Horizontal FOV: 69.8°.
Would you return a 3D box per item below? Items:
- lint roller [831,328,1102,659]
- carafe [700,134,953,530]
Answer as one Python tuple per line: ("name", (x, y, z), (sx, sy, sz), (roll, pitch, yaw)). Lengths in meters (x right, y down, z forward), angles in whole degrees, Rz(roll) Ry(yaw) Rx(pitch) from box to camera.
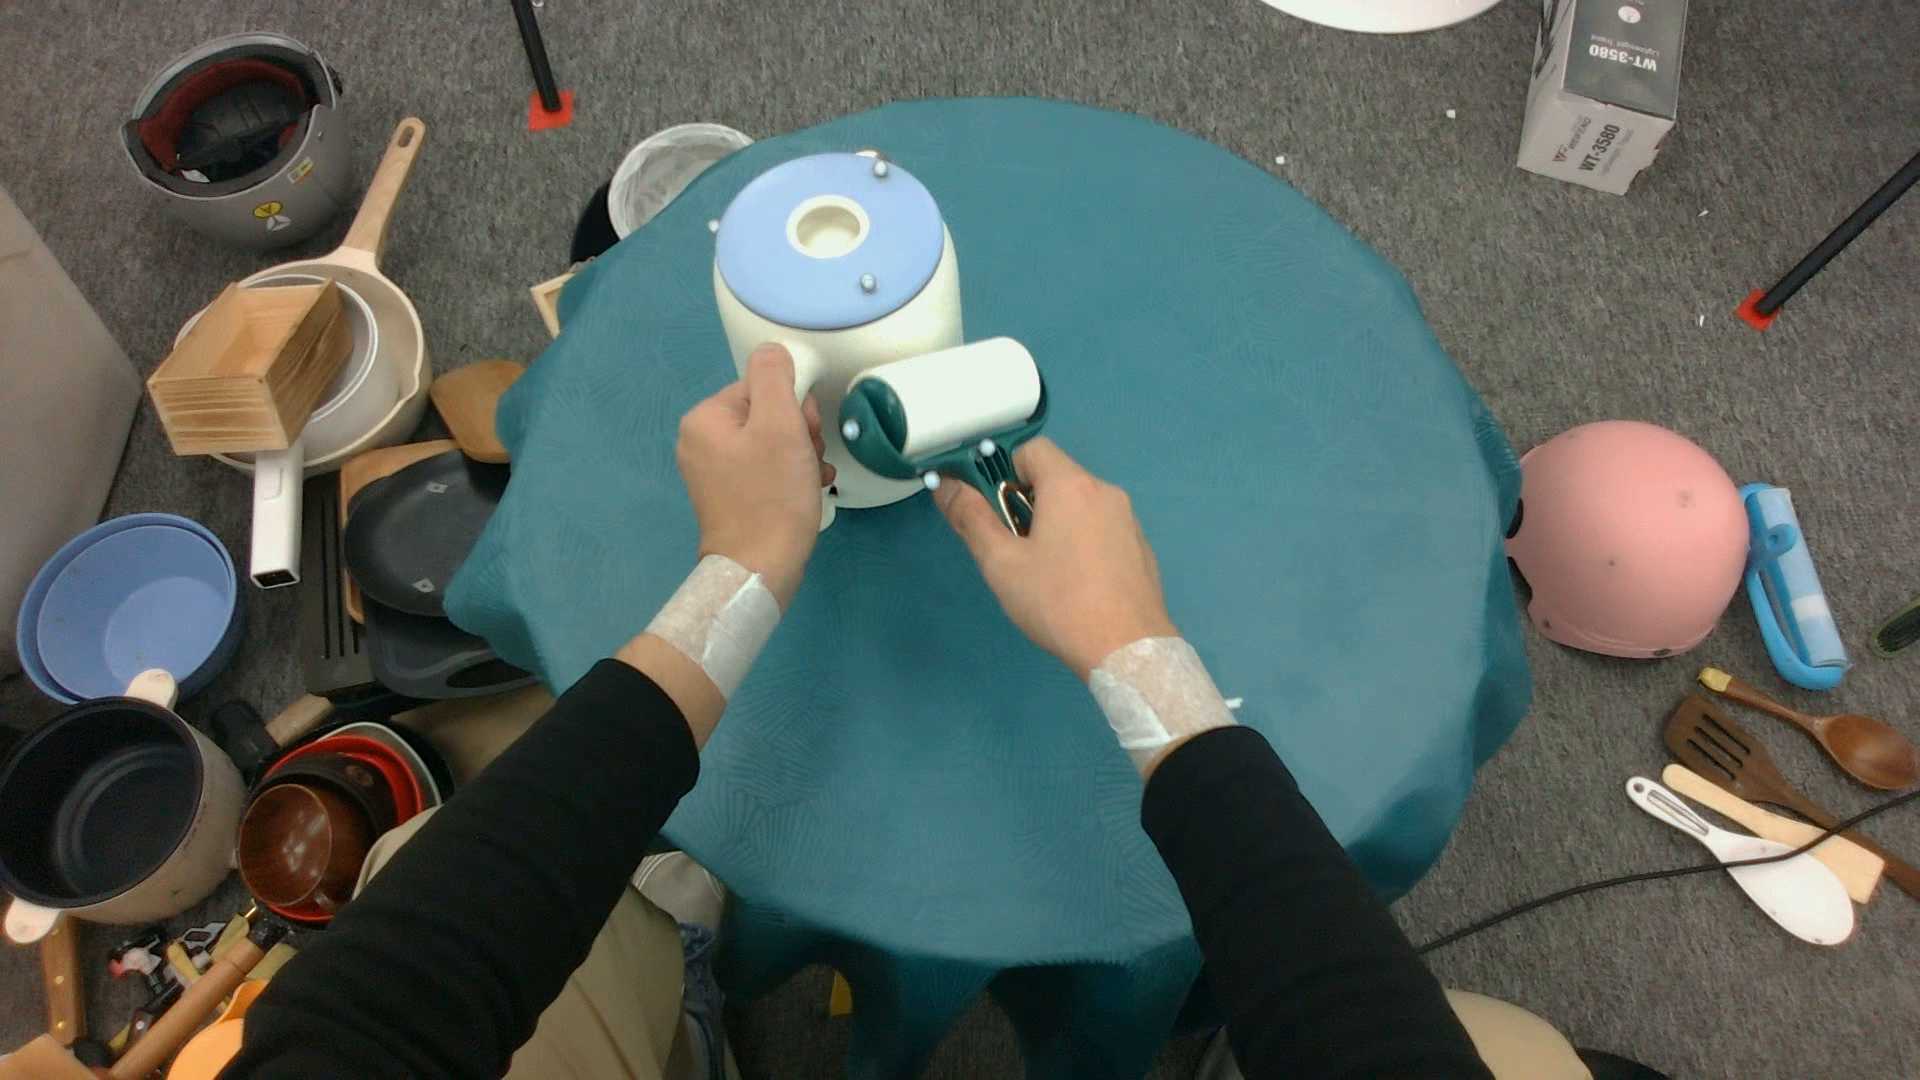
("lint roller", (0.026, -0.024, 0.693), (0.135, 0.048, 0.180), (-23, 72, -44))
("carafe", (-0.077, -0.100, 0.768), (0.132, 0.182, 0.192), (11, 63, 10))
